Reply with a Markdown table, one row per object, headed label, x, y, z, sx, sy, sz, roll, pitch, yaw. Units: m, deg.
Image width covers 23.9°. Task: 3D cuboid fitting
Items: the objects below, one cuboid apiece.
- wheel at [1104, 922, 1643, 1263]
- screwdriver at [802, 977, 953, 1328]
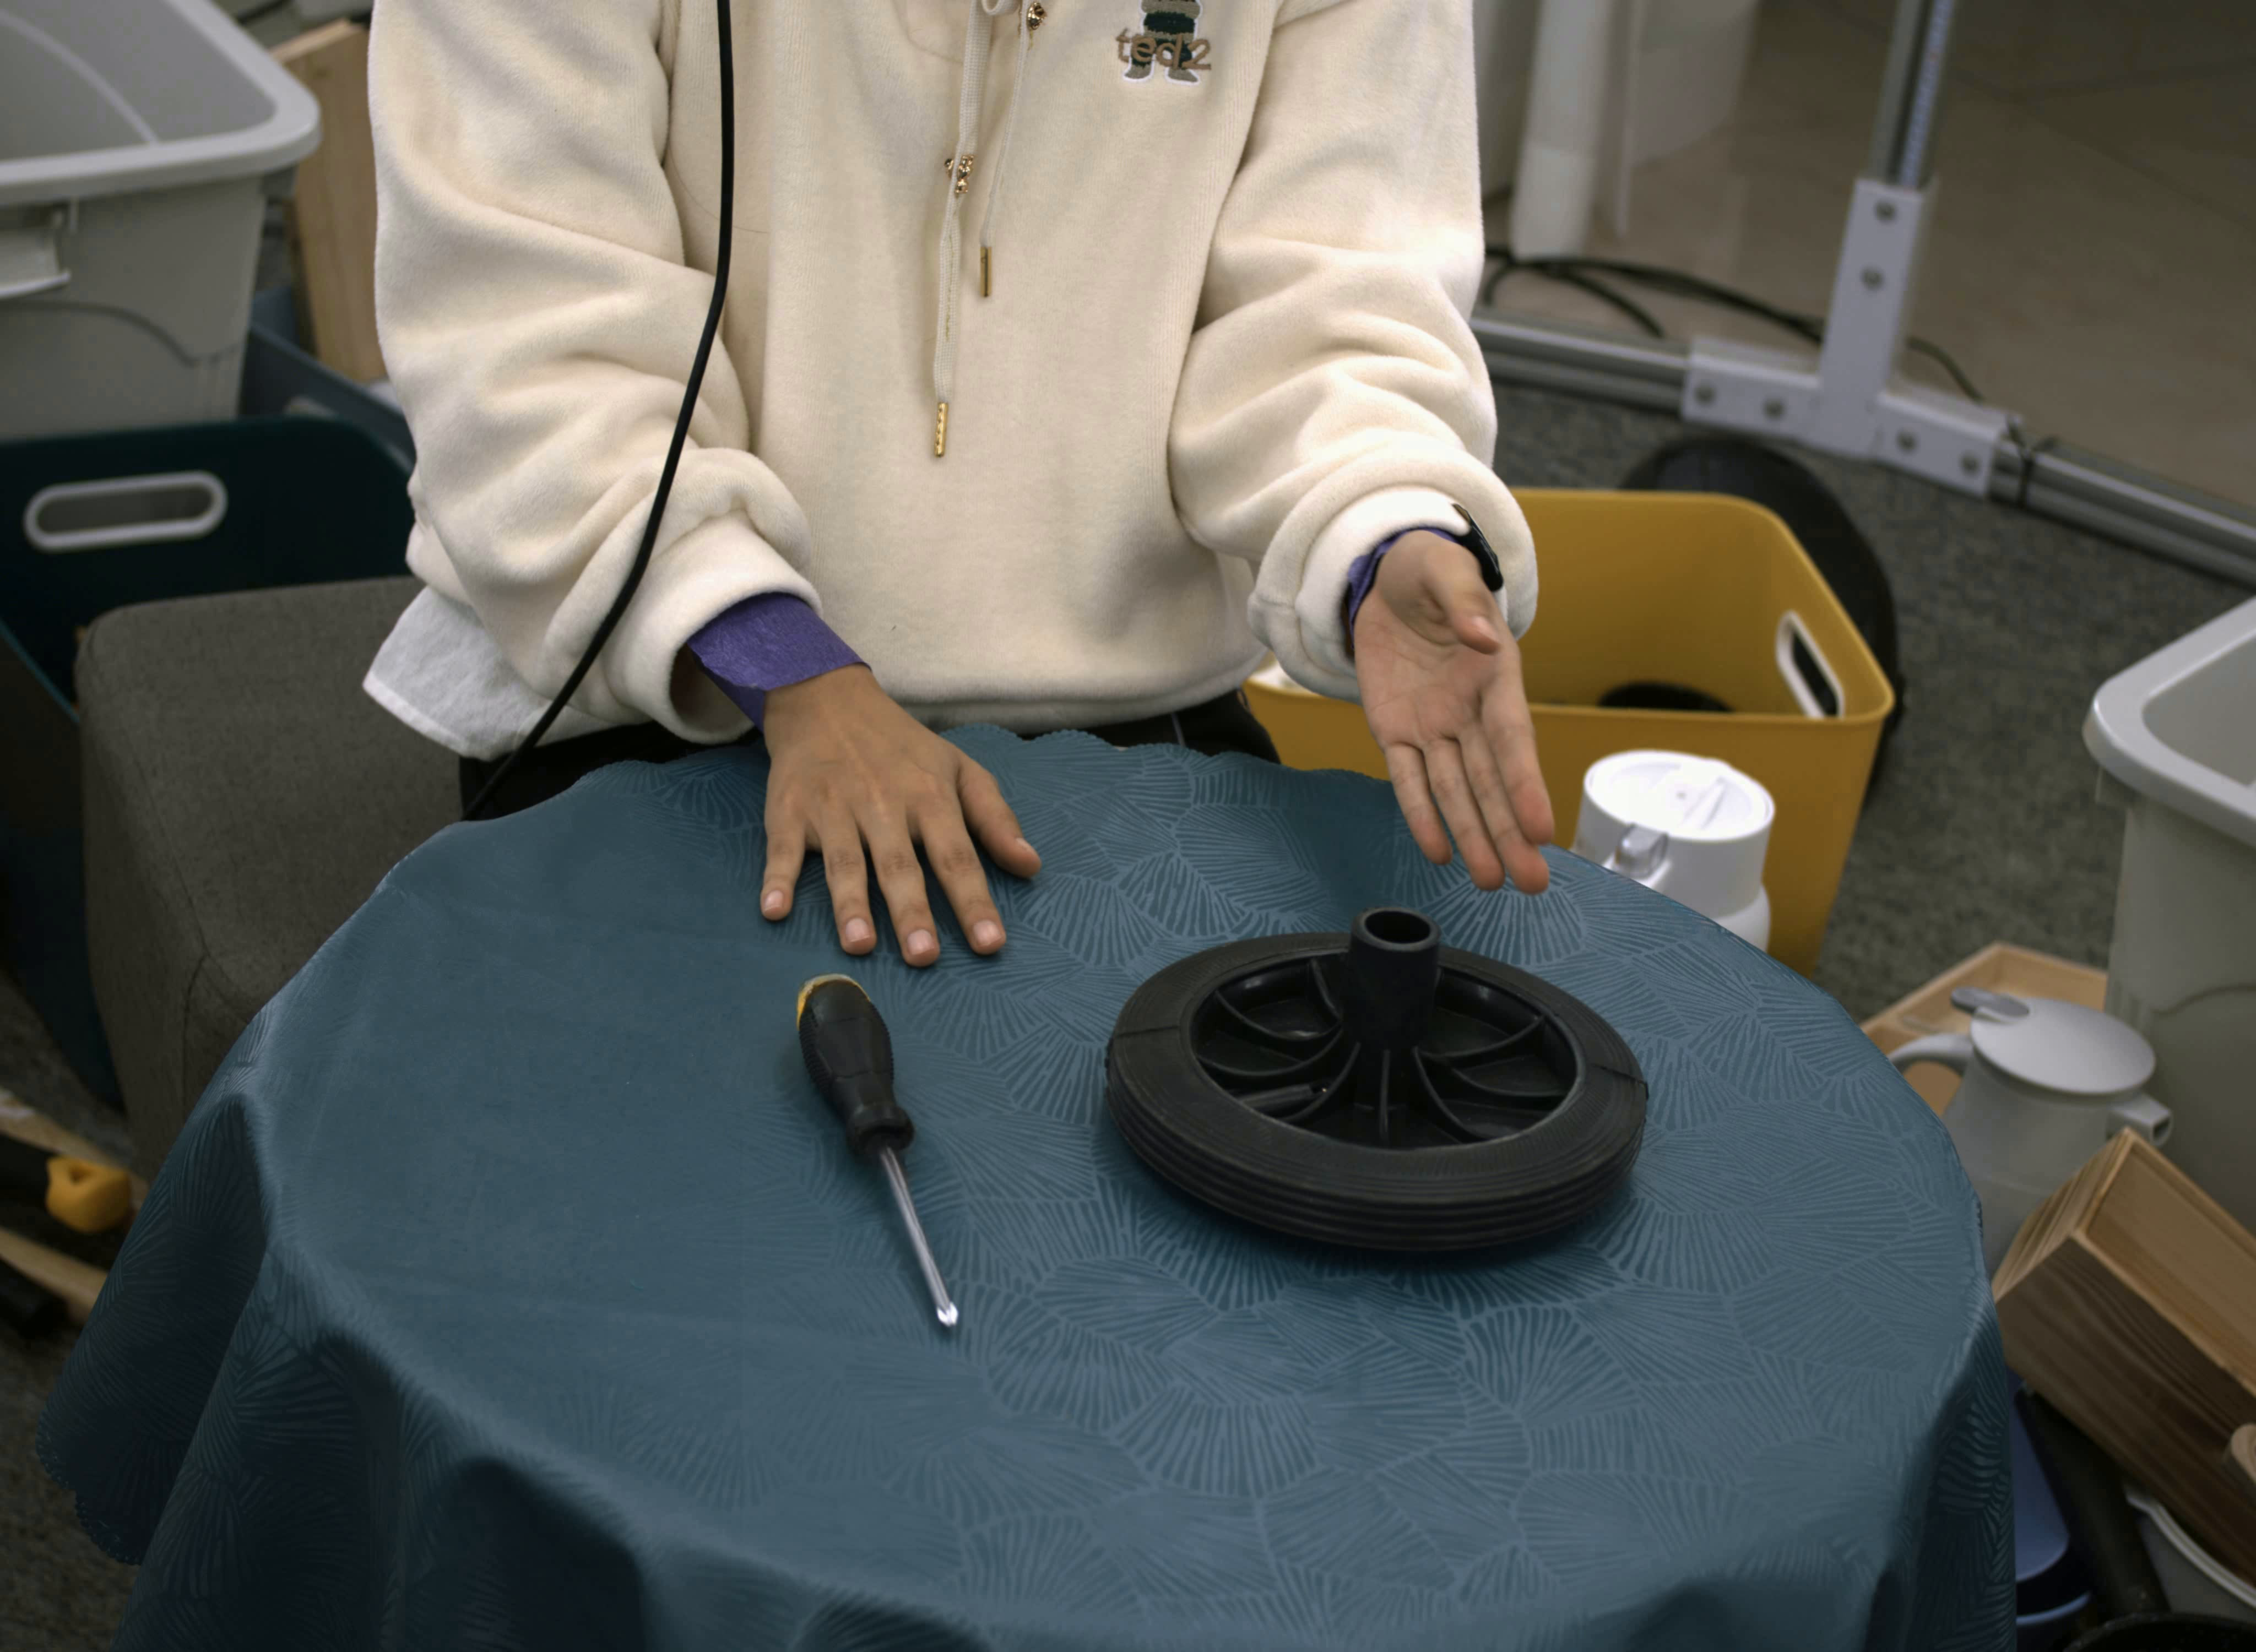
| label | x | y | z | sx | sy | sz | roll | pitch | yaw |
| --- | --- | --- | --- | --- | --- | --- | --- | --- | --- |
| wheel | 0.086 | 0.075 | 1.835 | 0.188 | 0.079 | 0.189 | 22 | 32 | 30 |
| screwdriver | -0.078 | 0.109 | 1.787 | 0.031 | 0.031 | 0.198 | -2 | 30 | -18 |
